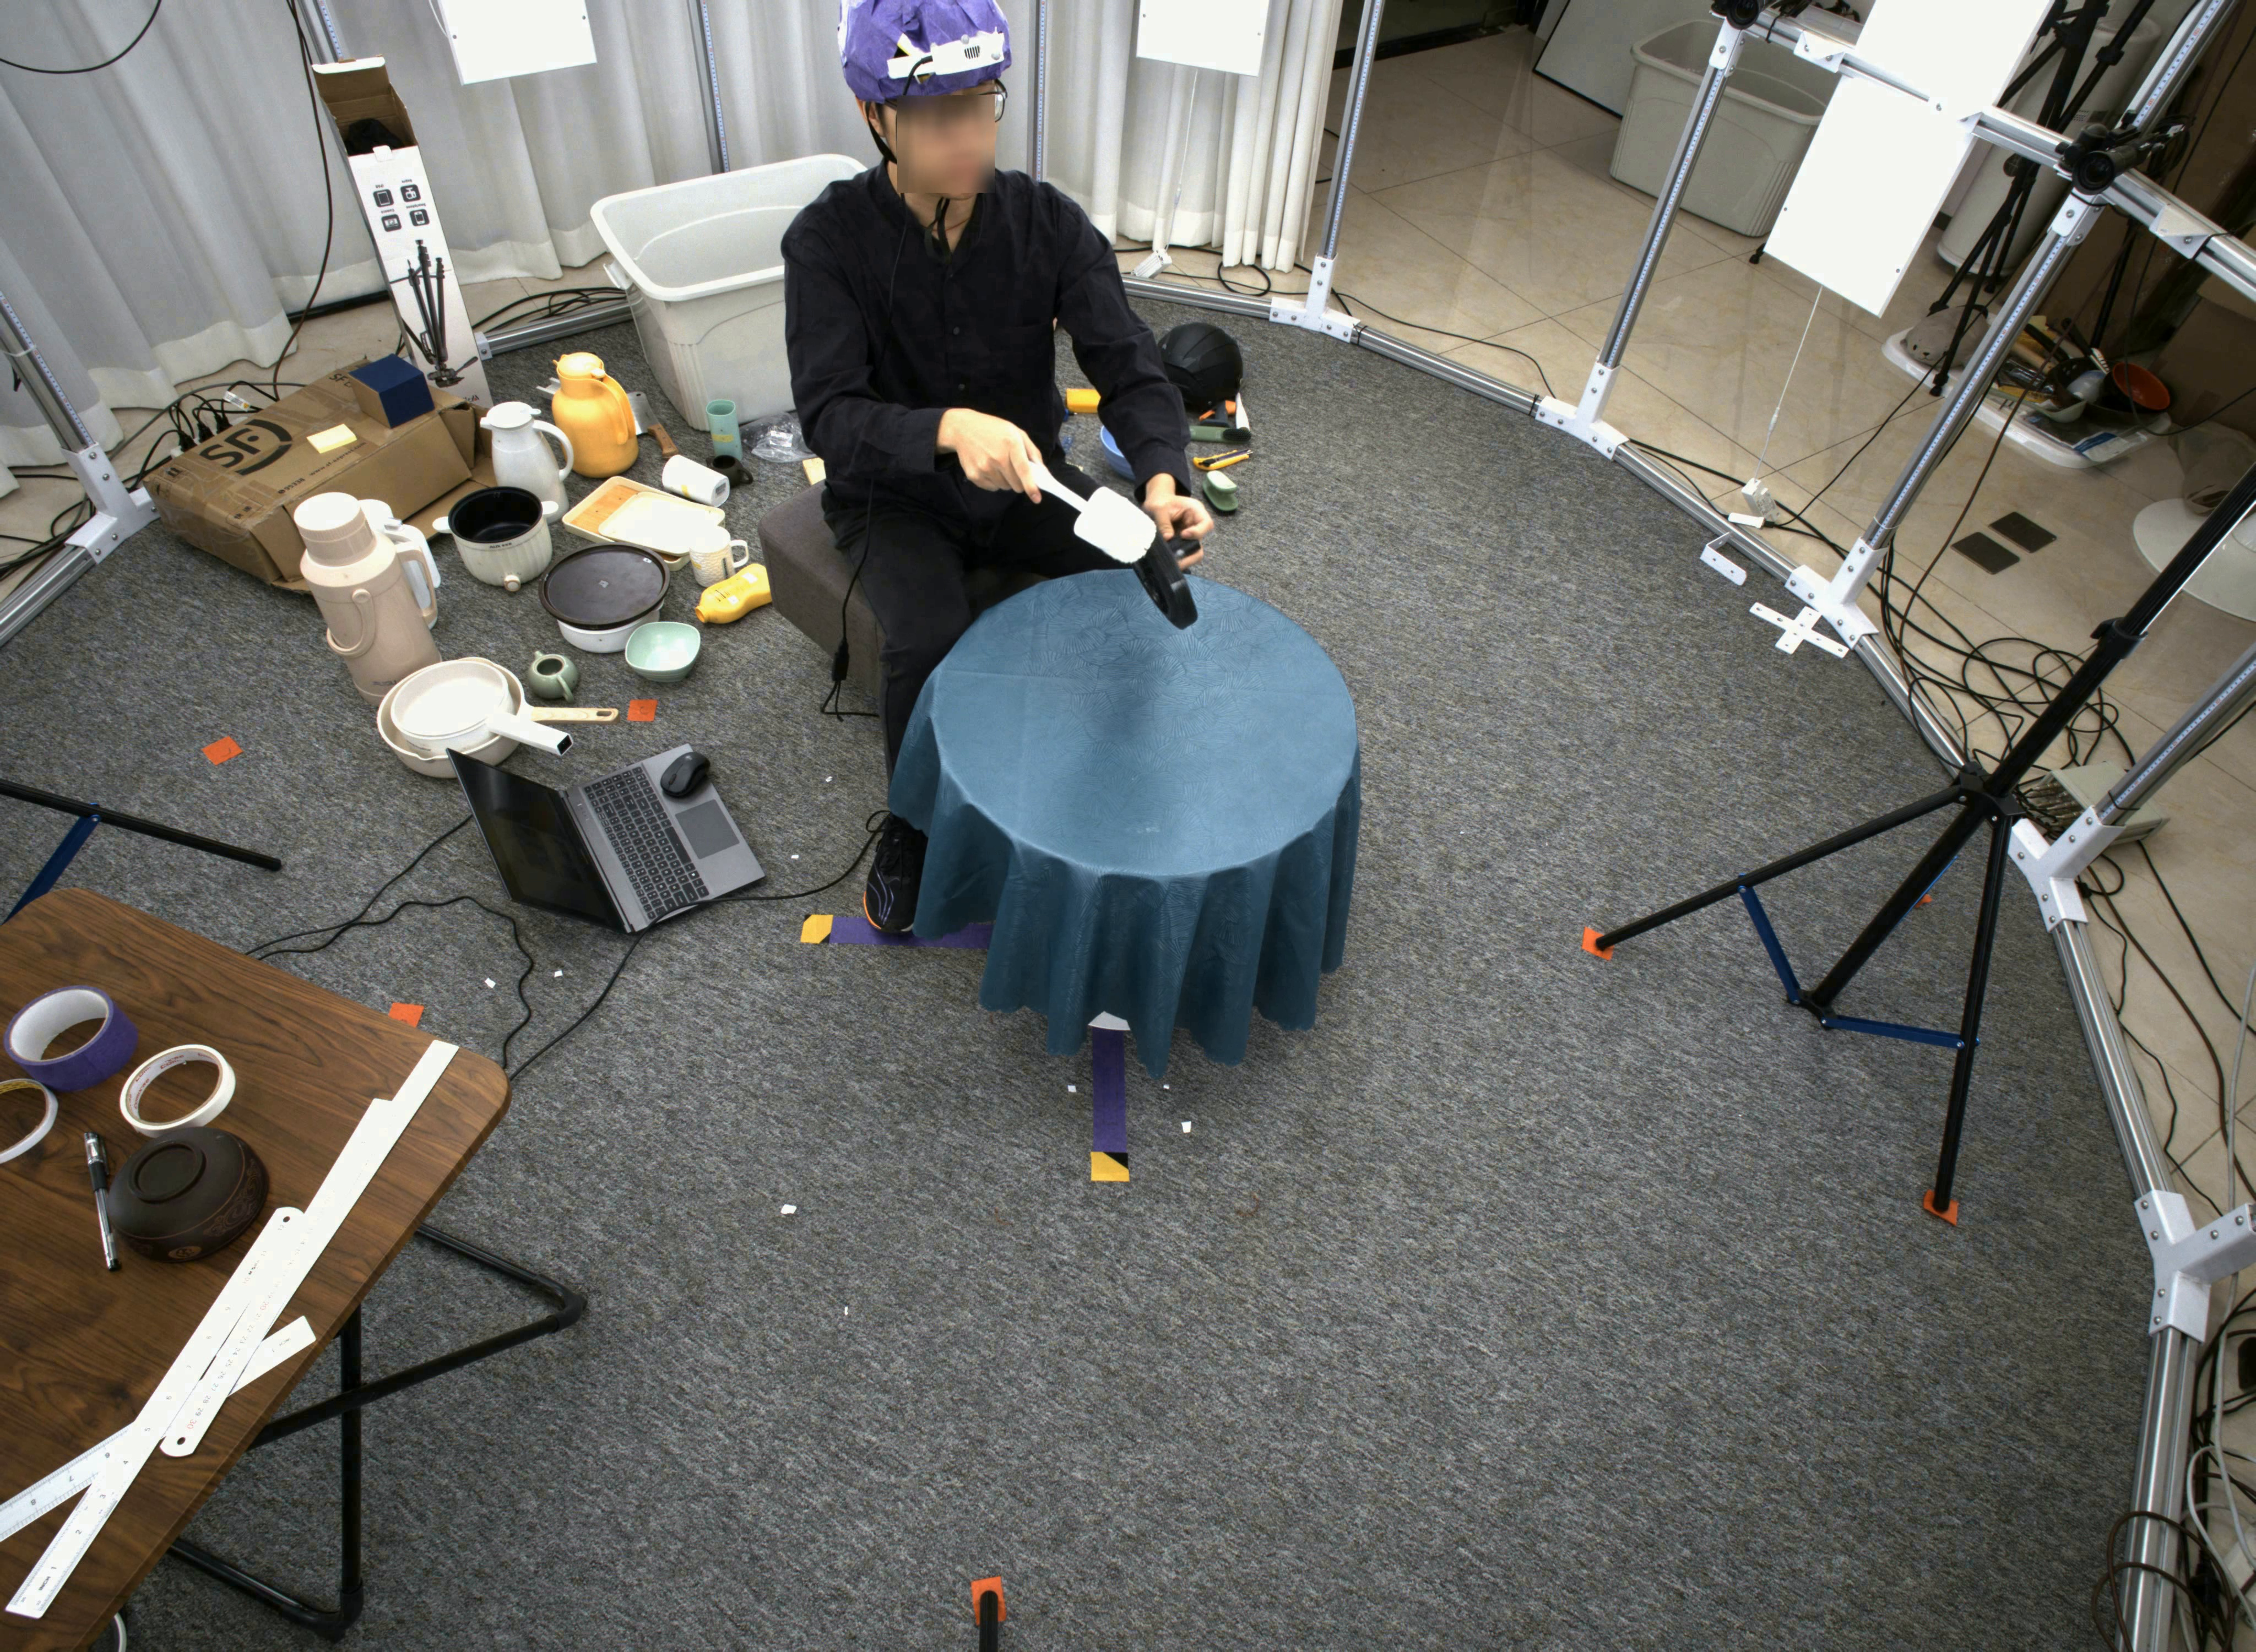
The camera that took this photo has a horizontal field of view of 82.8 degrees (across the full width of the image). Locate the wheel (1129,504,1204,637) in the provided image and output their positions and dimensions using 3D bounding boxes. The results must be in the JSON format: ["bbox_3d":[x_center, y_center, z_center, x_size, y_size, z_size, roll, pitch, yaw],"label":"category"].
[{"bbox_3d":[0.056,-0.341,1.663,0.079,0.184,0.193,-32,67,-2],"label":"wheel"}]

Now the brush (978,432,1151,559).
[{"bbox_3d":[-0.071,-0.418,1.613,0.083,0.082,0.332,-33,48,-18],"label":"brush"}]
